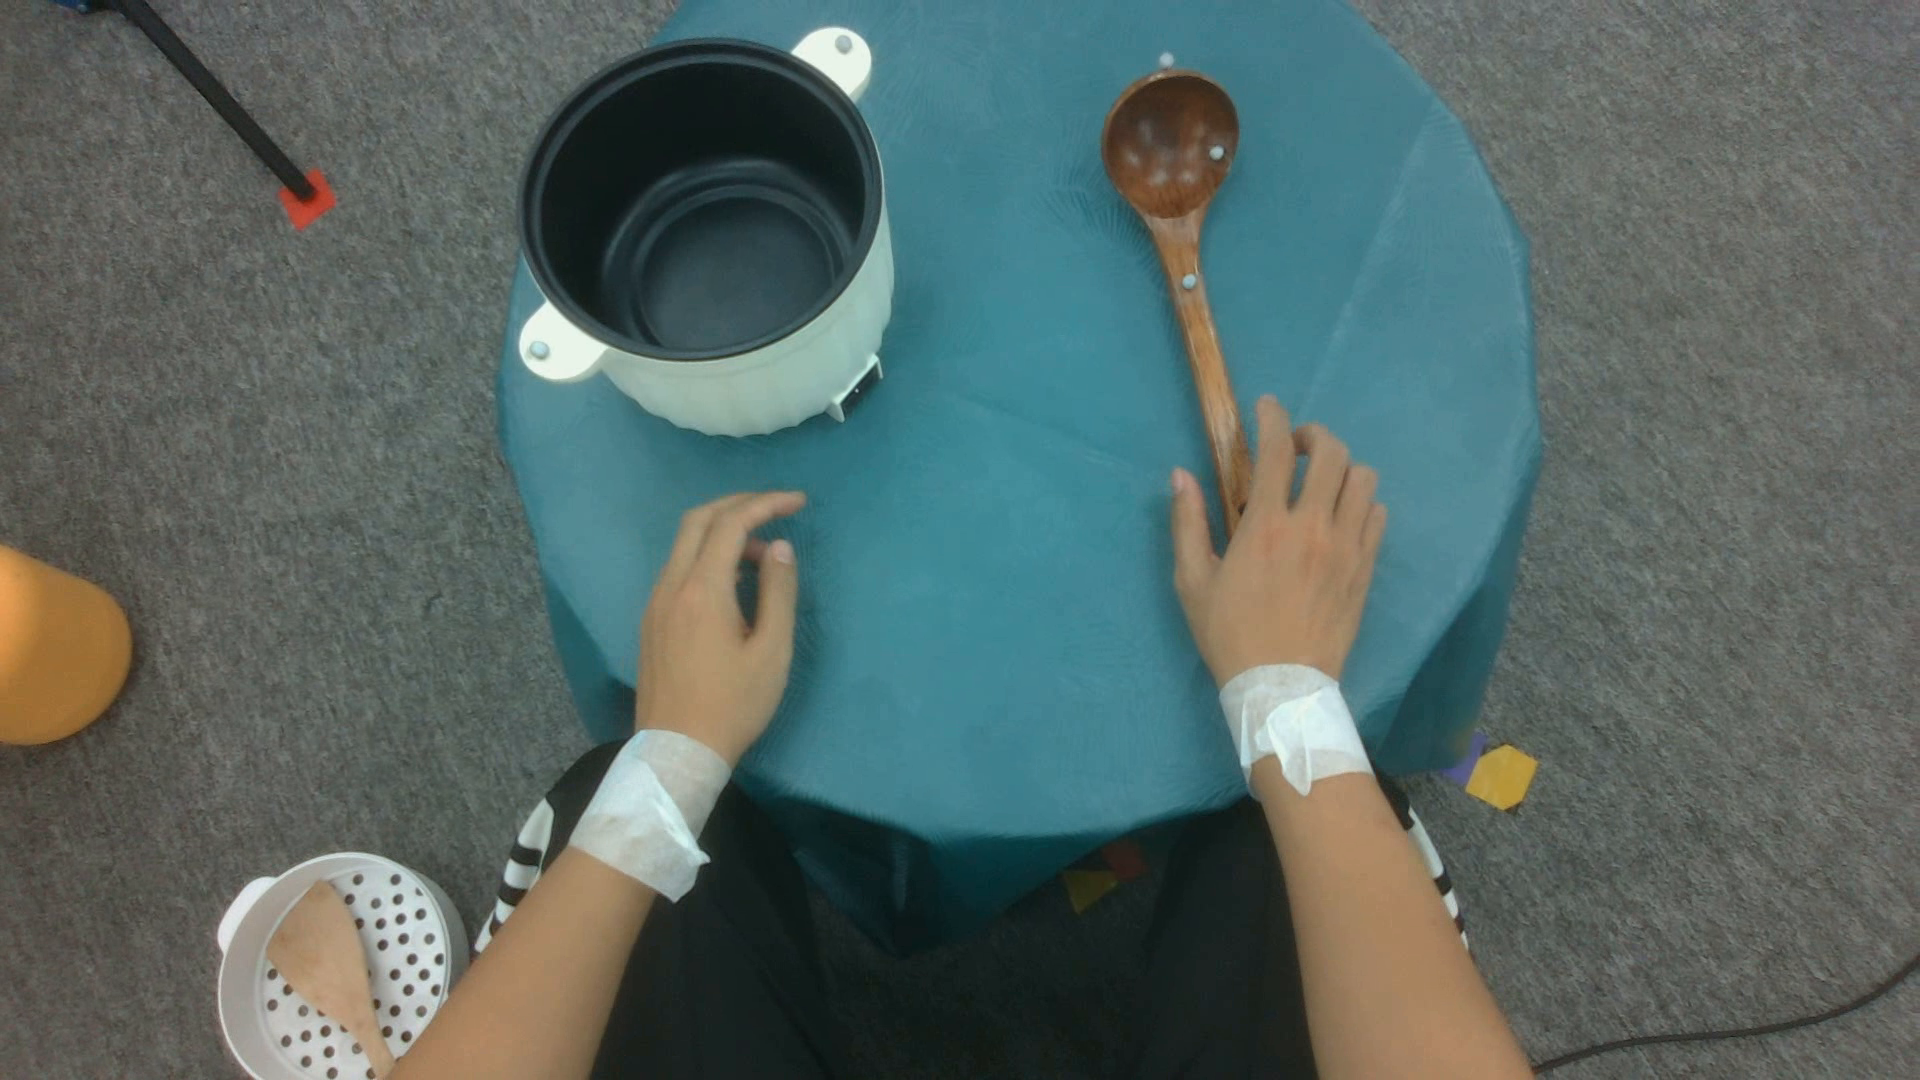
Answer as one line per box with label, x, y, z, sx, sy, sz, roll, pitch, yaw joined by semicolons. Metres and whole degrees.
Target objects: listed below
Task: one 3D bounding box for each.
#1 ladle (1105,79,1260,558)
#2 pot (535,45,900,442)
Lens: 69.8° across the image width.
ladle;0.140;-0.130;0.774;0.082;0.076;0.275;-8;71;0
pot;-0.128;-0.151;0.761;0.190;0.142;0.241;37;76;10
